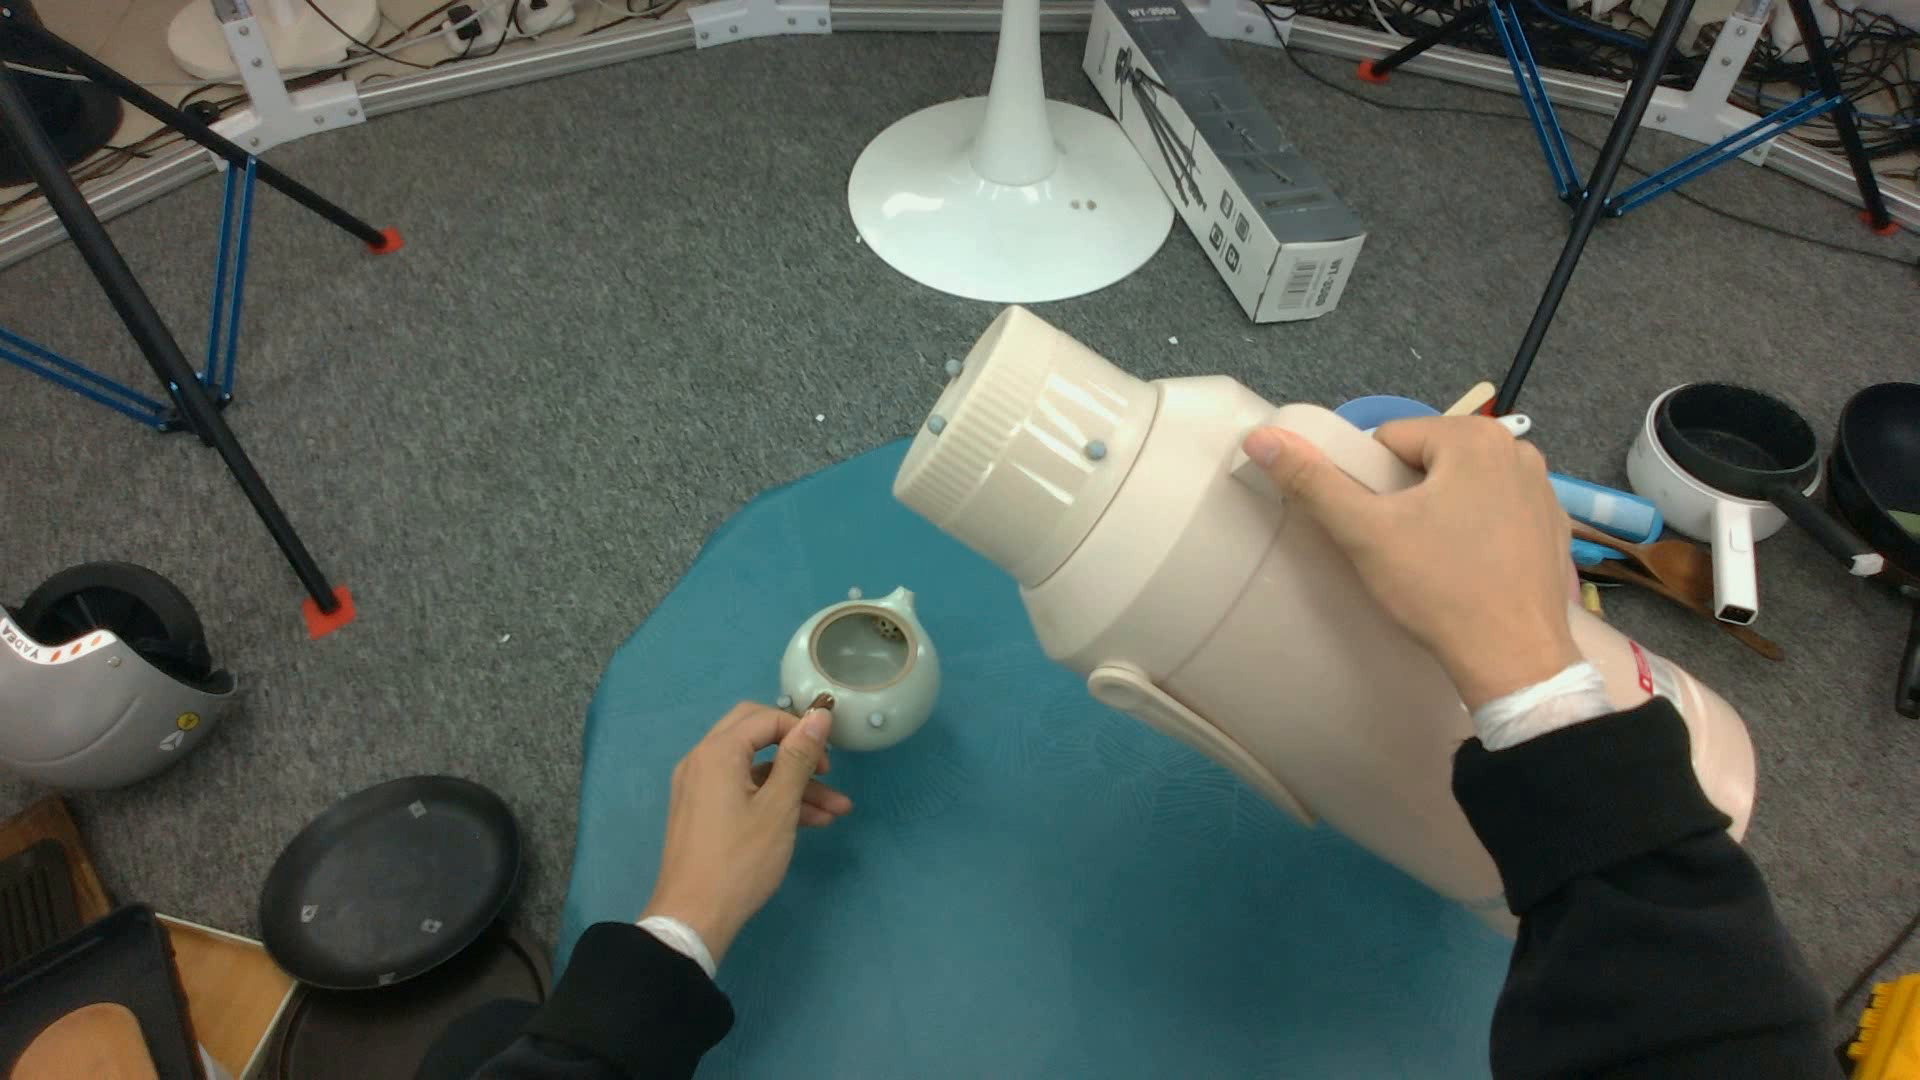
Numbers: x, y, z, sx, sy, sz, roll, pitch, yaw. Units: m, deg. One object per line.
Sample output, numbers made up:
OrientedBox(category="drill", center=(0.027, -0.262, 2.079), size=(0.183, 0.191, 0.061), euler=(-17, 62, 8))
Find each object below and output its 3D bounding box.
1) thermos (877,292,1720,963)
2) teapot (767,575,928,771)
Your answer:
OrientedBox(category="thermos", center=(0.161, 0.033, 0.651), size=(0.406, 0.206, 0.176), euler=(34, 56, -10))
OrientedBox(category="teapot", center=(-0.068, 0.078, 0.782), size=(0.092, 0.059, 0.129), euler=(25, 50, 10))
